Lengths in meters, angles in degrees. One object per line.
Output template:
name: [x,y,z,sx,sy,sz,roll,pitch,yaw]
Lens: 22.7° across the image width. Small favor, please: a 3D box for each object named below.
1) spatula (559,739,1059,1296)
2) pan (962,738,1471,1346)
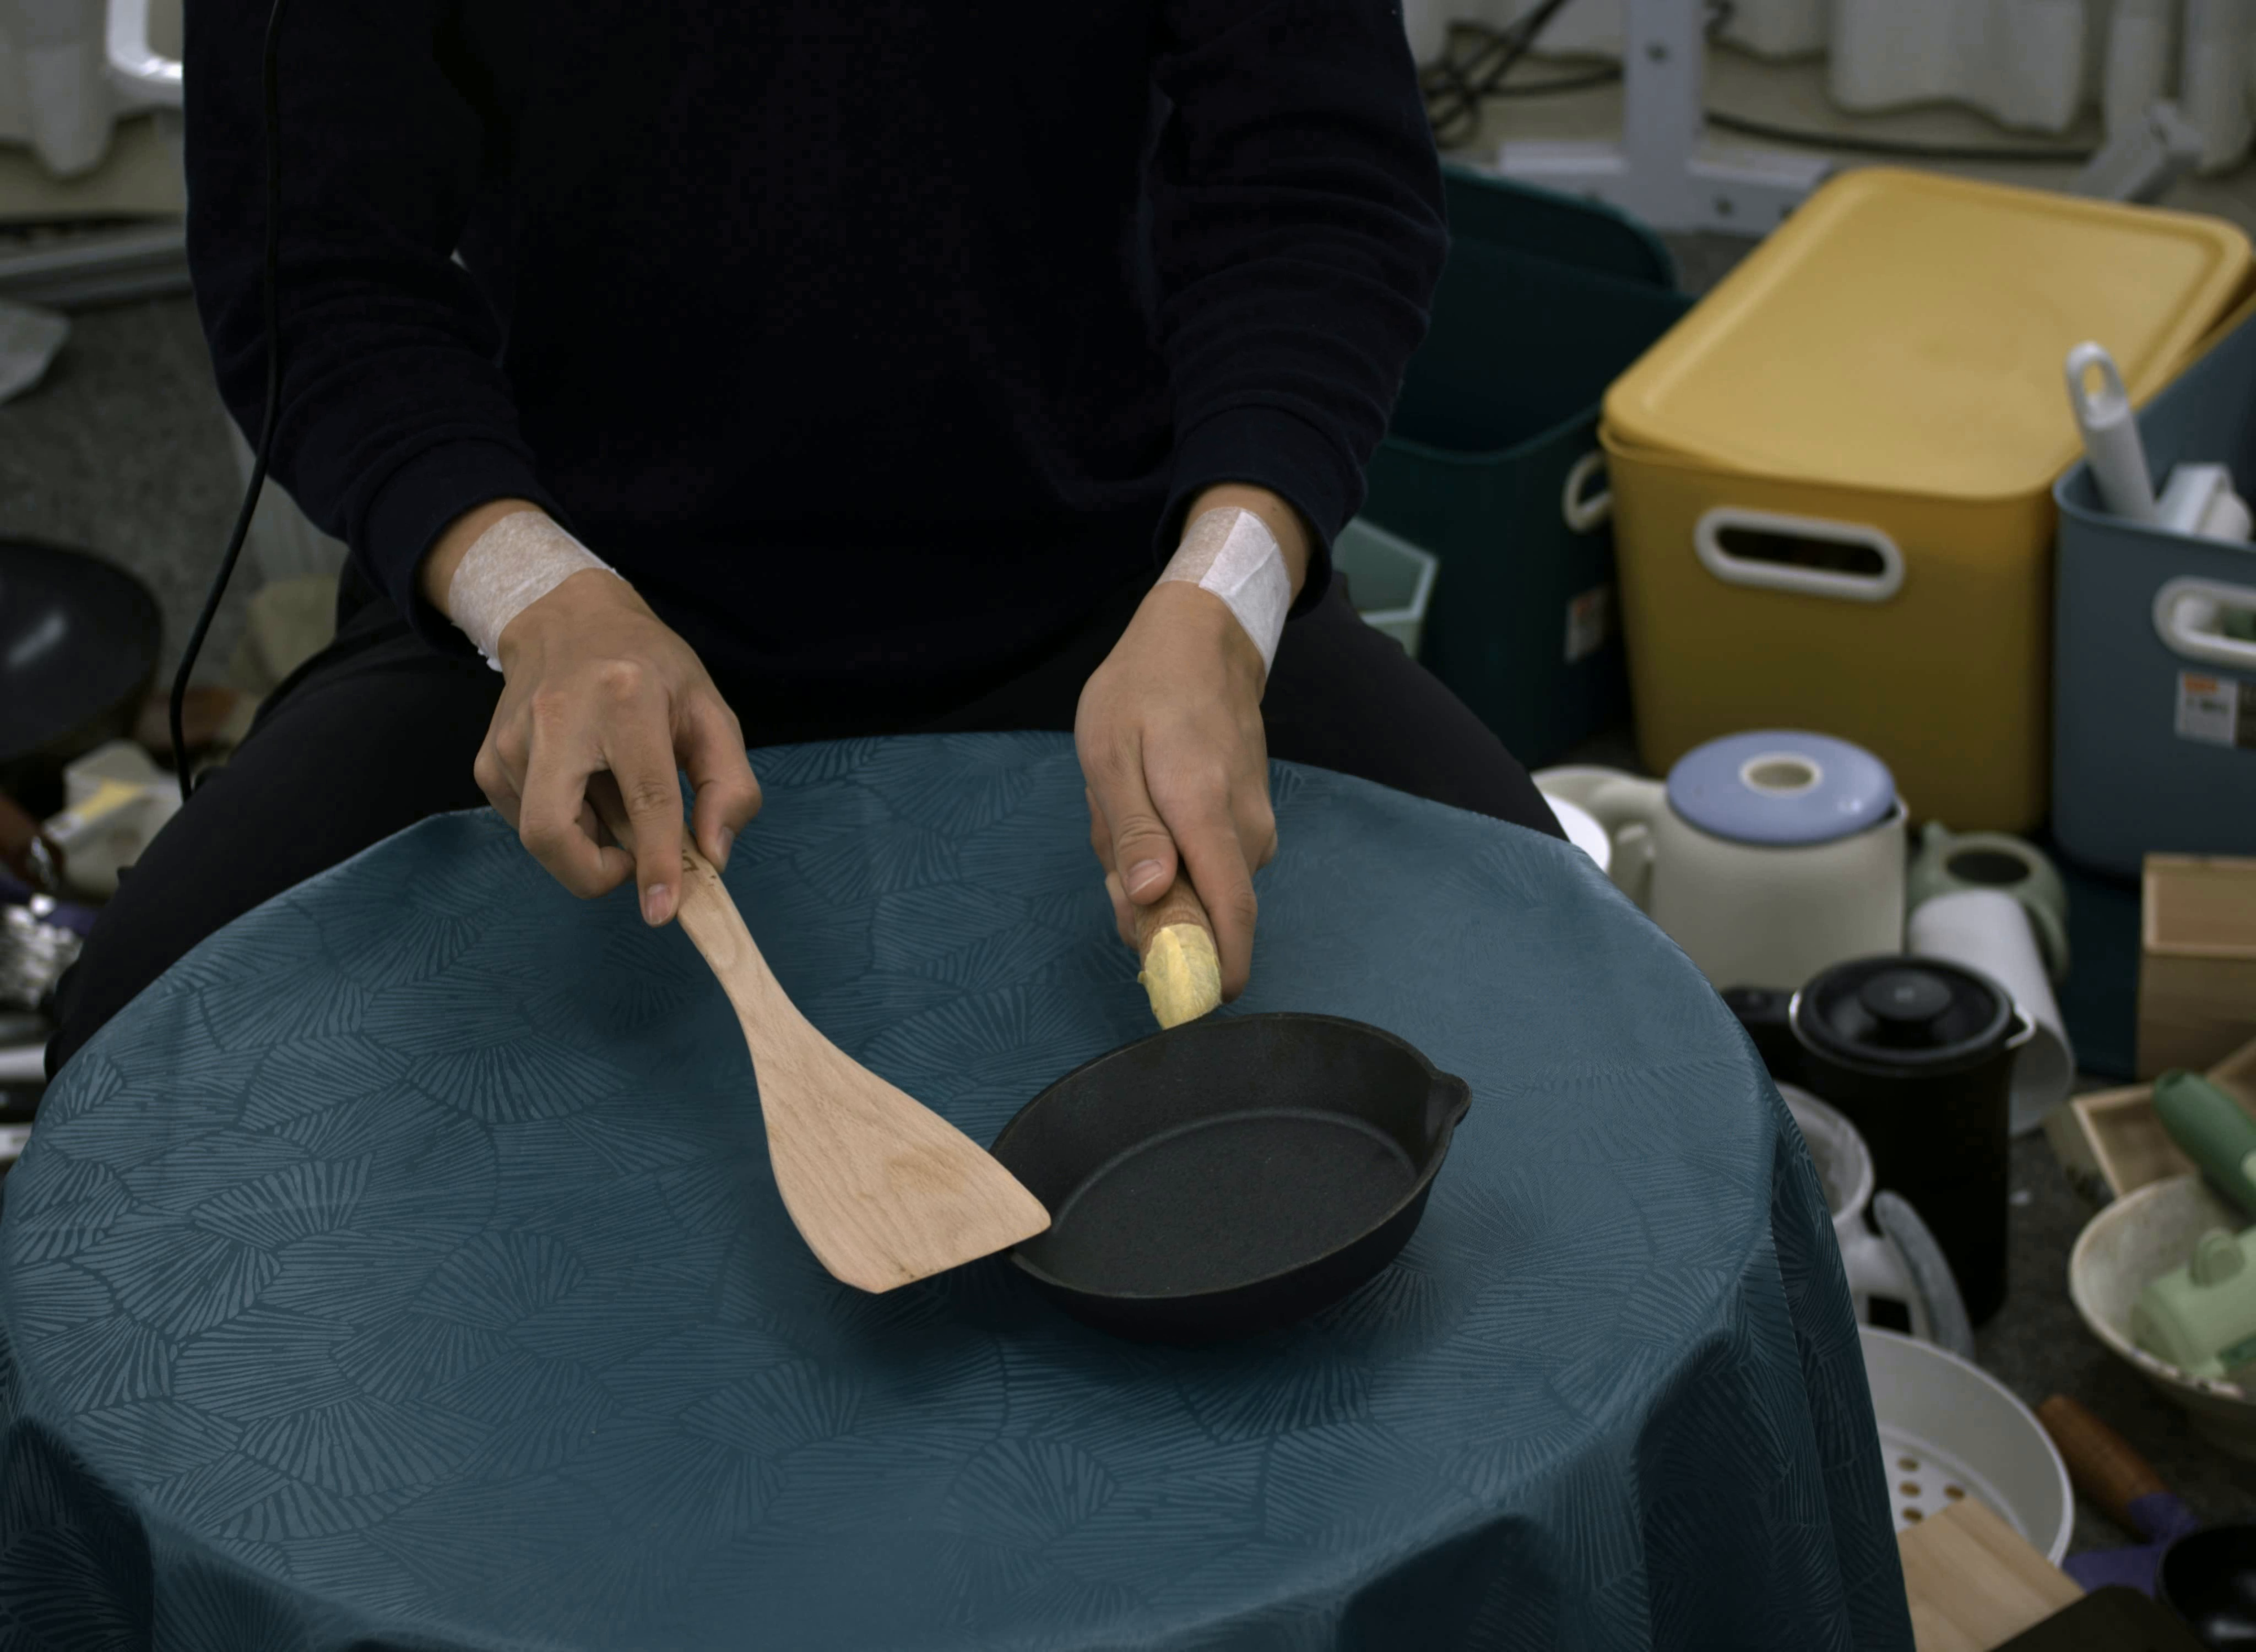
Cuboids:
spatula: [-0.121,0.057,1.883,0.080,0.016,0.331,-10,38,-25]
pan: [0.024,0.069,1.884,0.168,0.049,0.329,-12,30,3]
